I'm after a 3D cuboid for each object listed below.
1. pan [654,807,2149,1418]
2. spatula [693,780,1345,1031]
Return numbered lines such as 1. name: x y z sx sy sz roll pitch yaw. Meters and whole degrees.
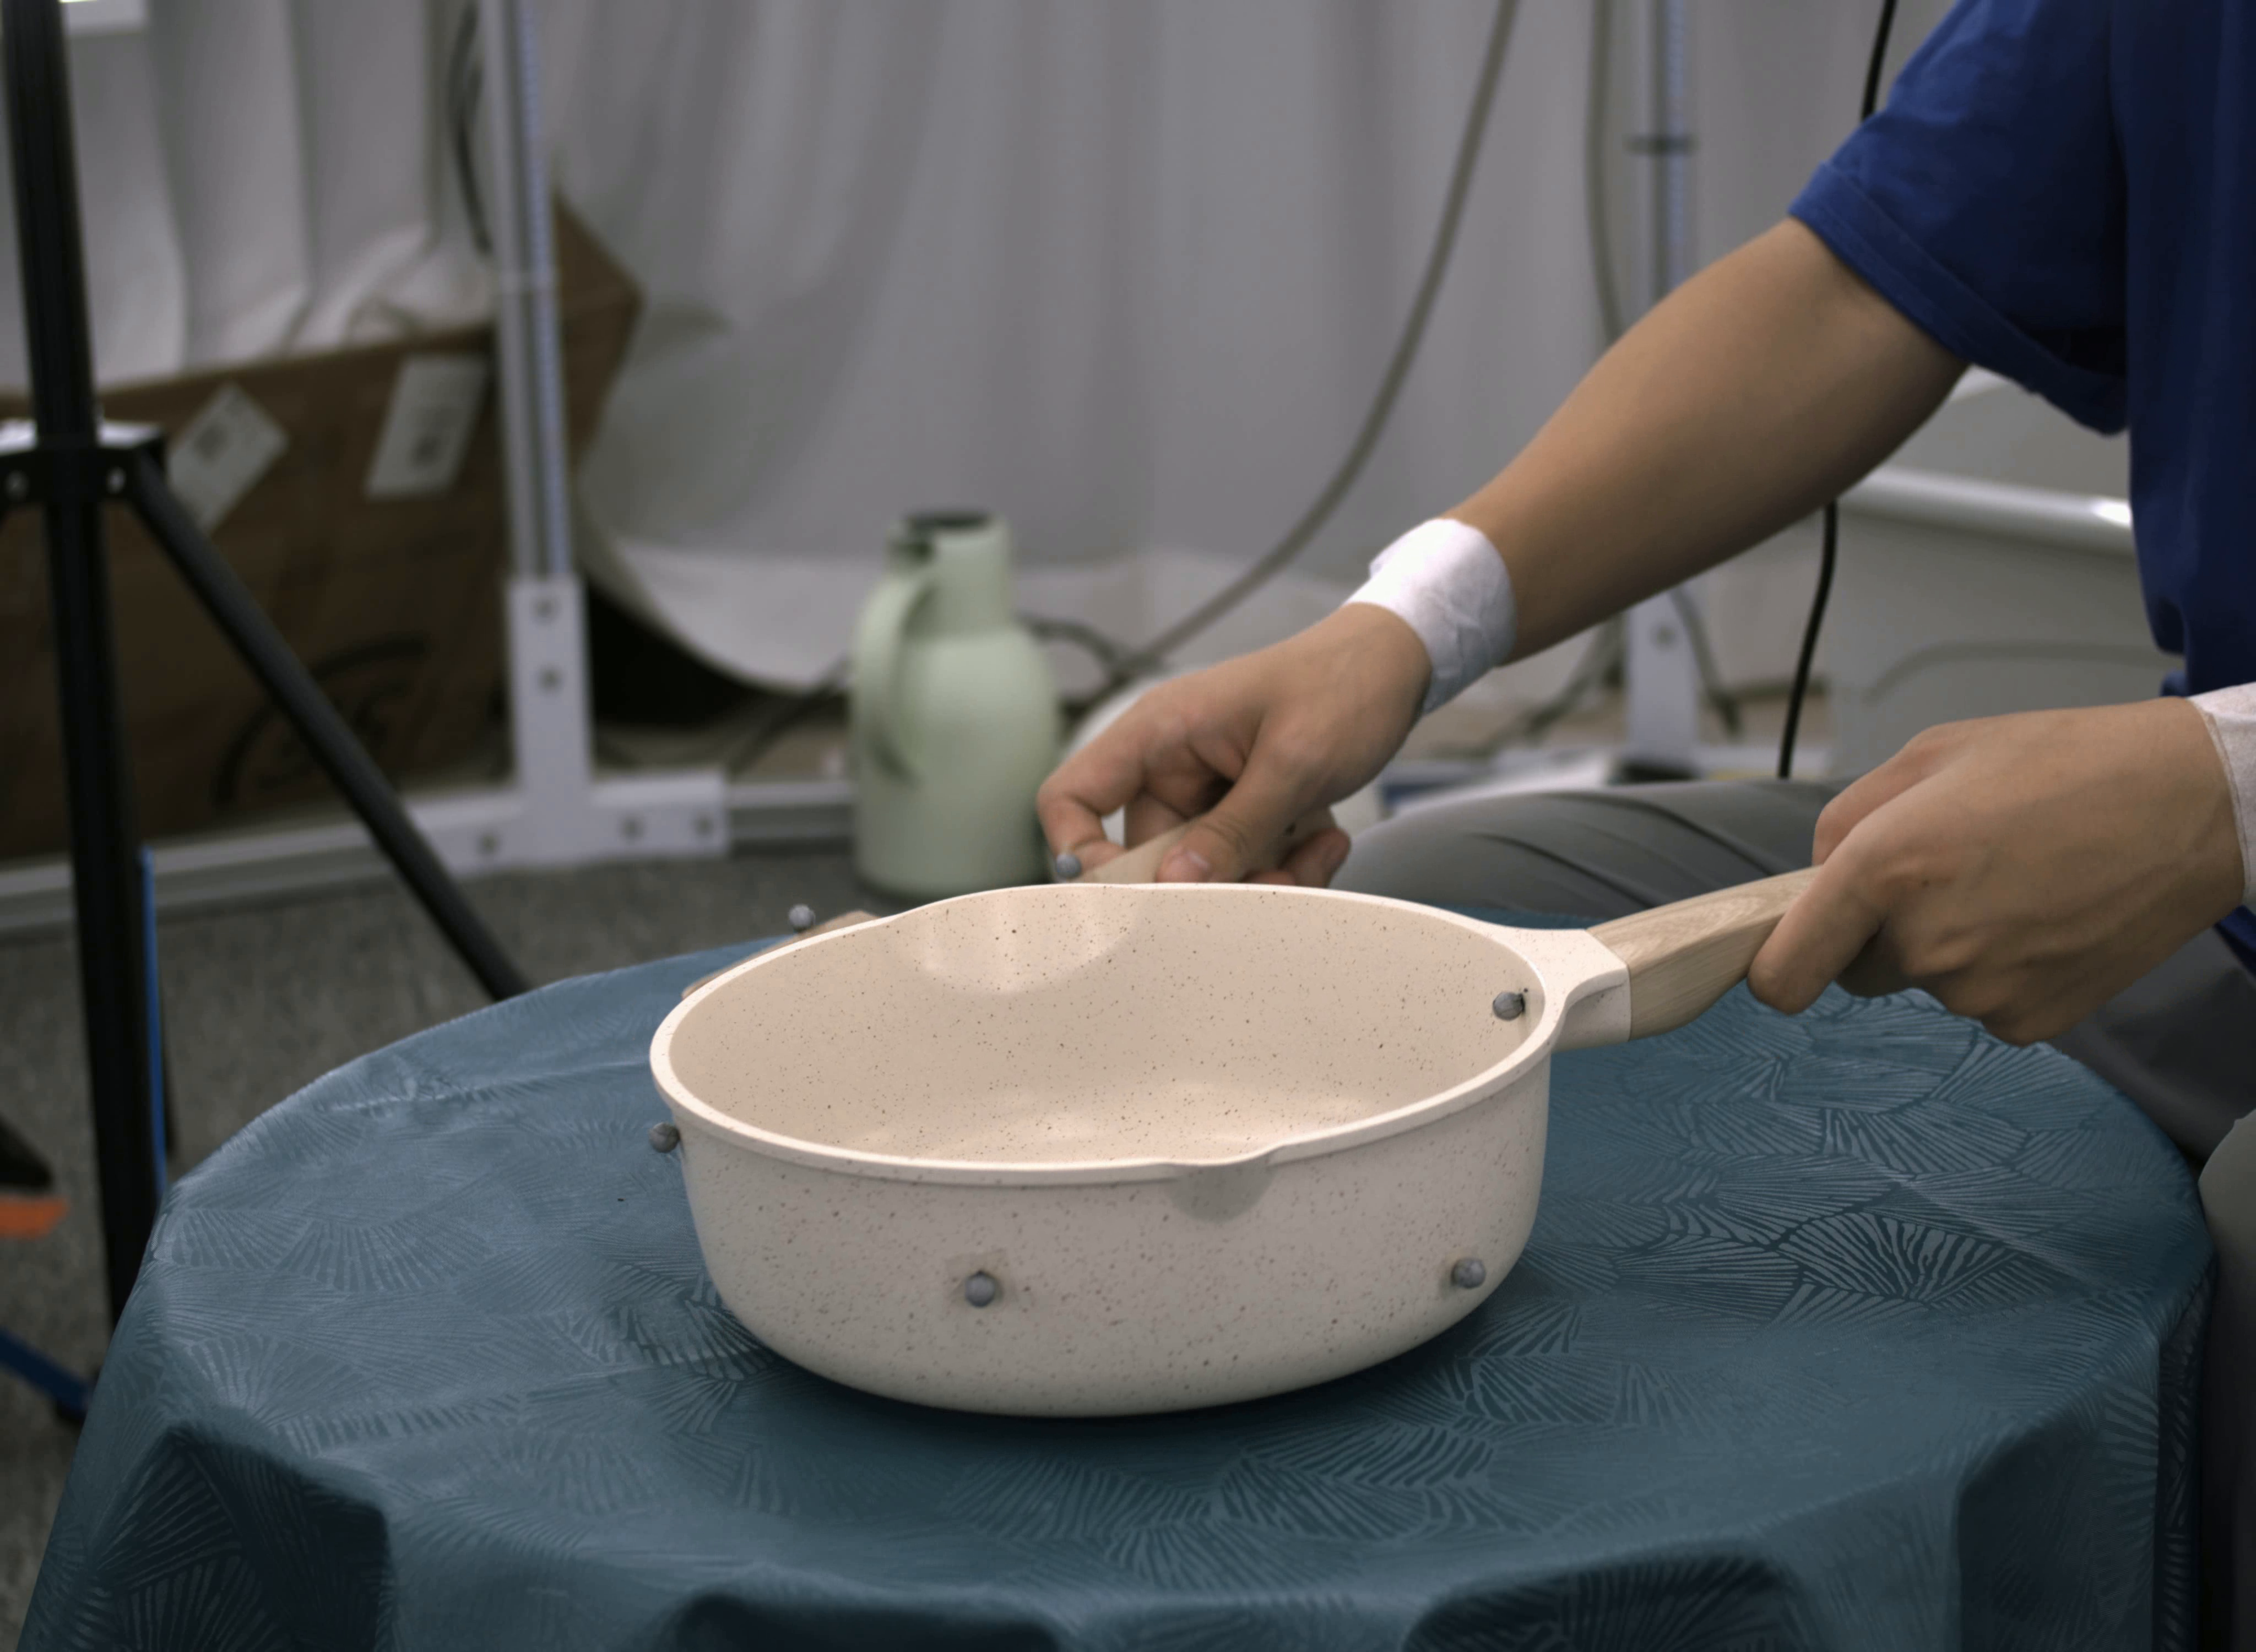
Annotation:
1. pan: 0.086 0.072 1.471 0.429 0.102 0.267 -7 15 -12
2. spatula: -0.024 0.036 1.680 0.287 0.073 0.011 -25 -13 -45
